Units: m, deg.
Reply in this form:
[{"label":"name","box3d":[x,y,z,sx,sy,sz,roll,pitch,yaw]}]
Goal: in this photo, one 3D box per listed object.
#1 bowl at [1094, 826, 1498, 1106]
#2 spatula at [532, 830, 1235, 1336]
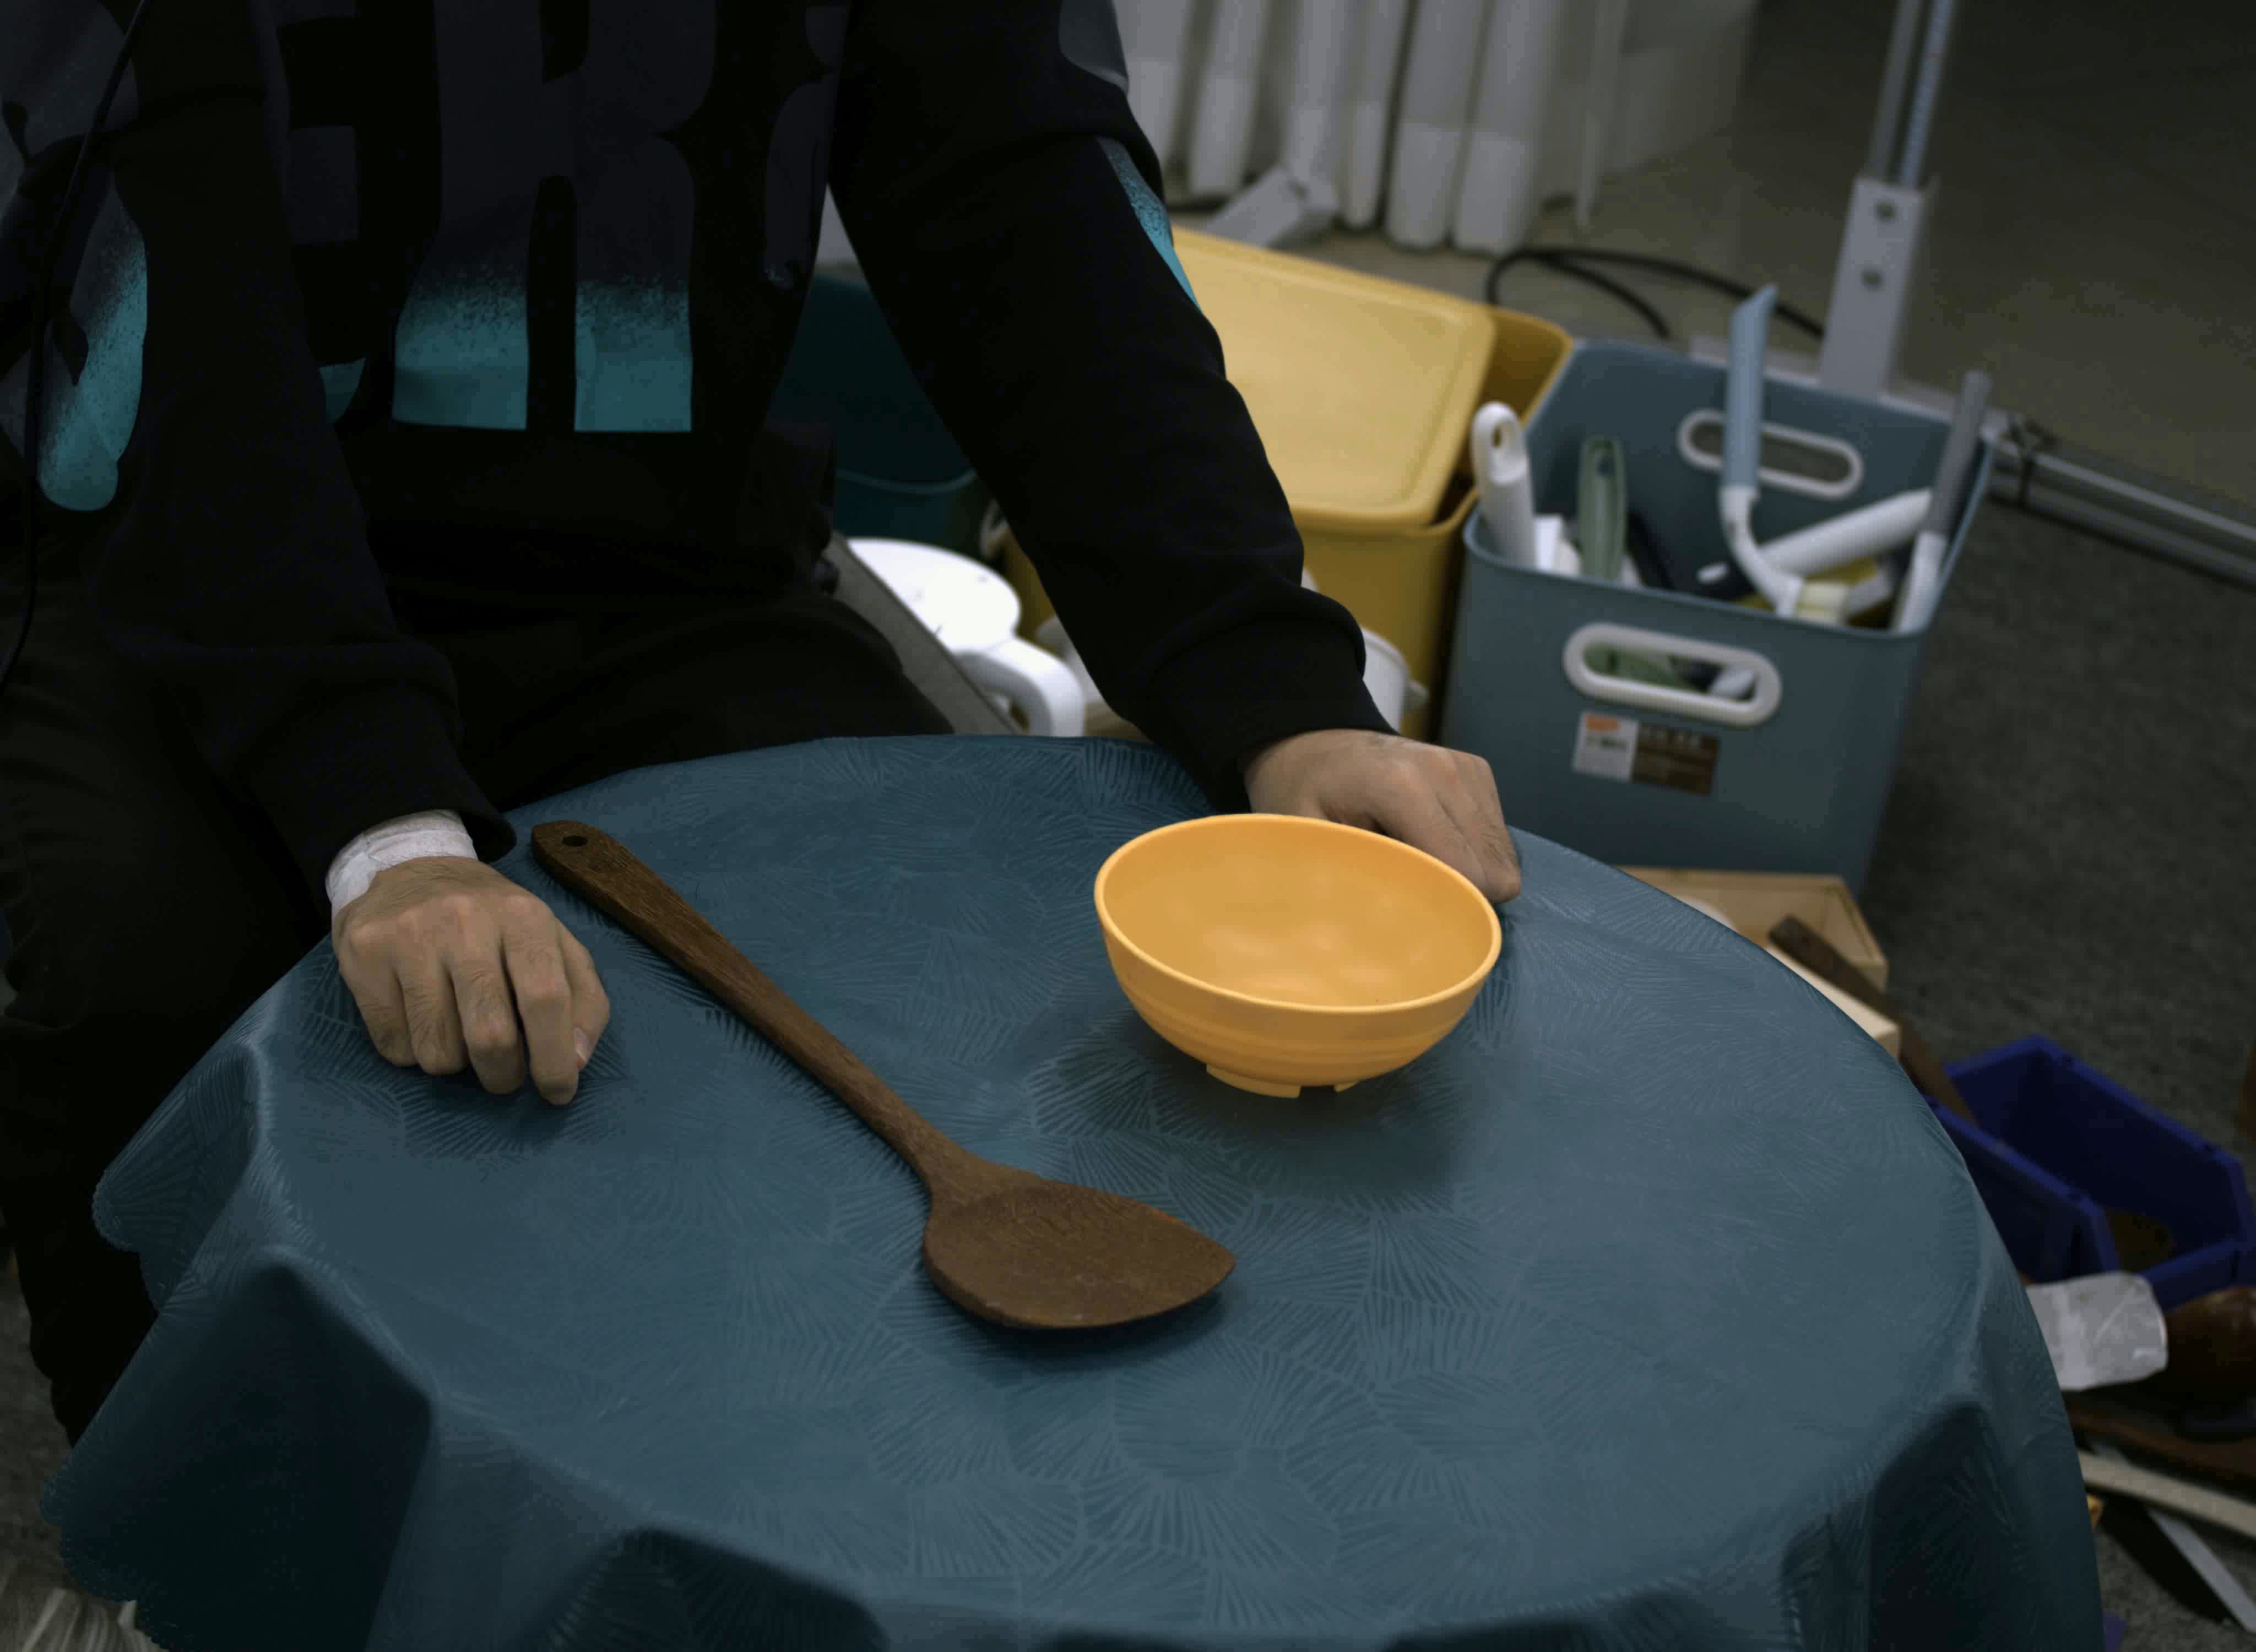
[{"label":"bowl","box3d":[0.055,0.057,1.883,0.145,0.060,0.146,7,24,-3]},{"label":"spatula","box3d":[-0.105,0.081,1.846,0.095,0.016,0.389,-12,32,-34]}]
